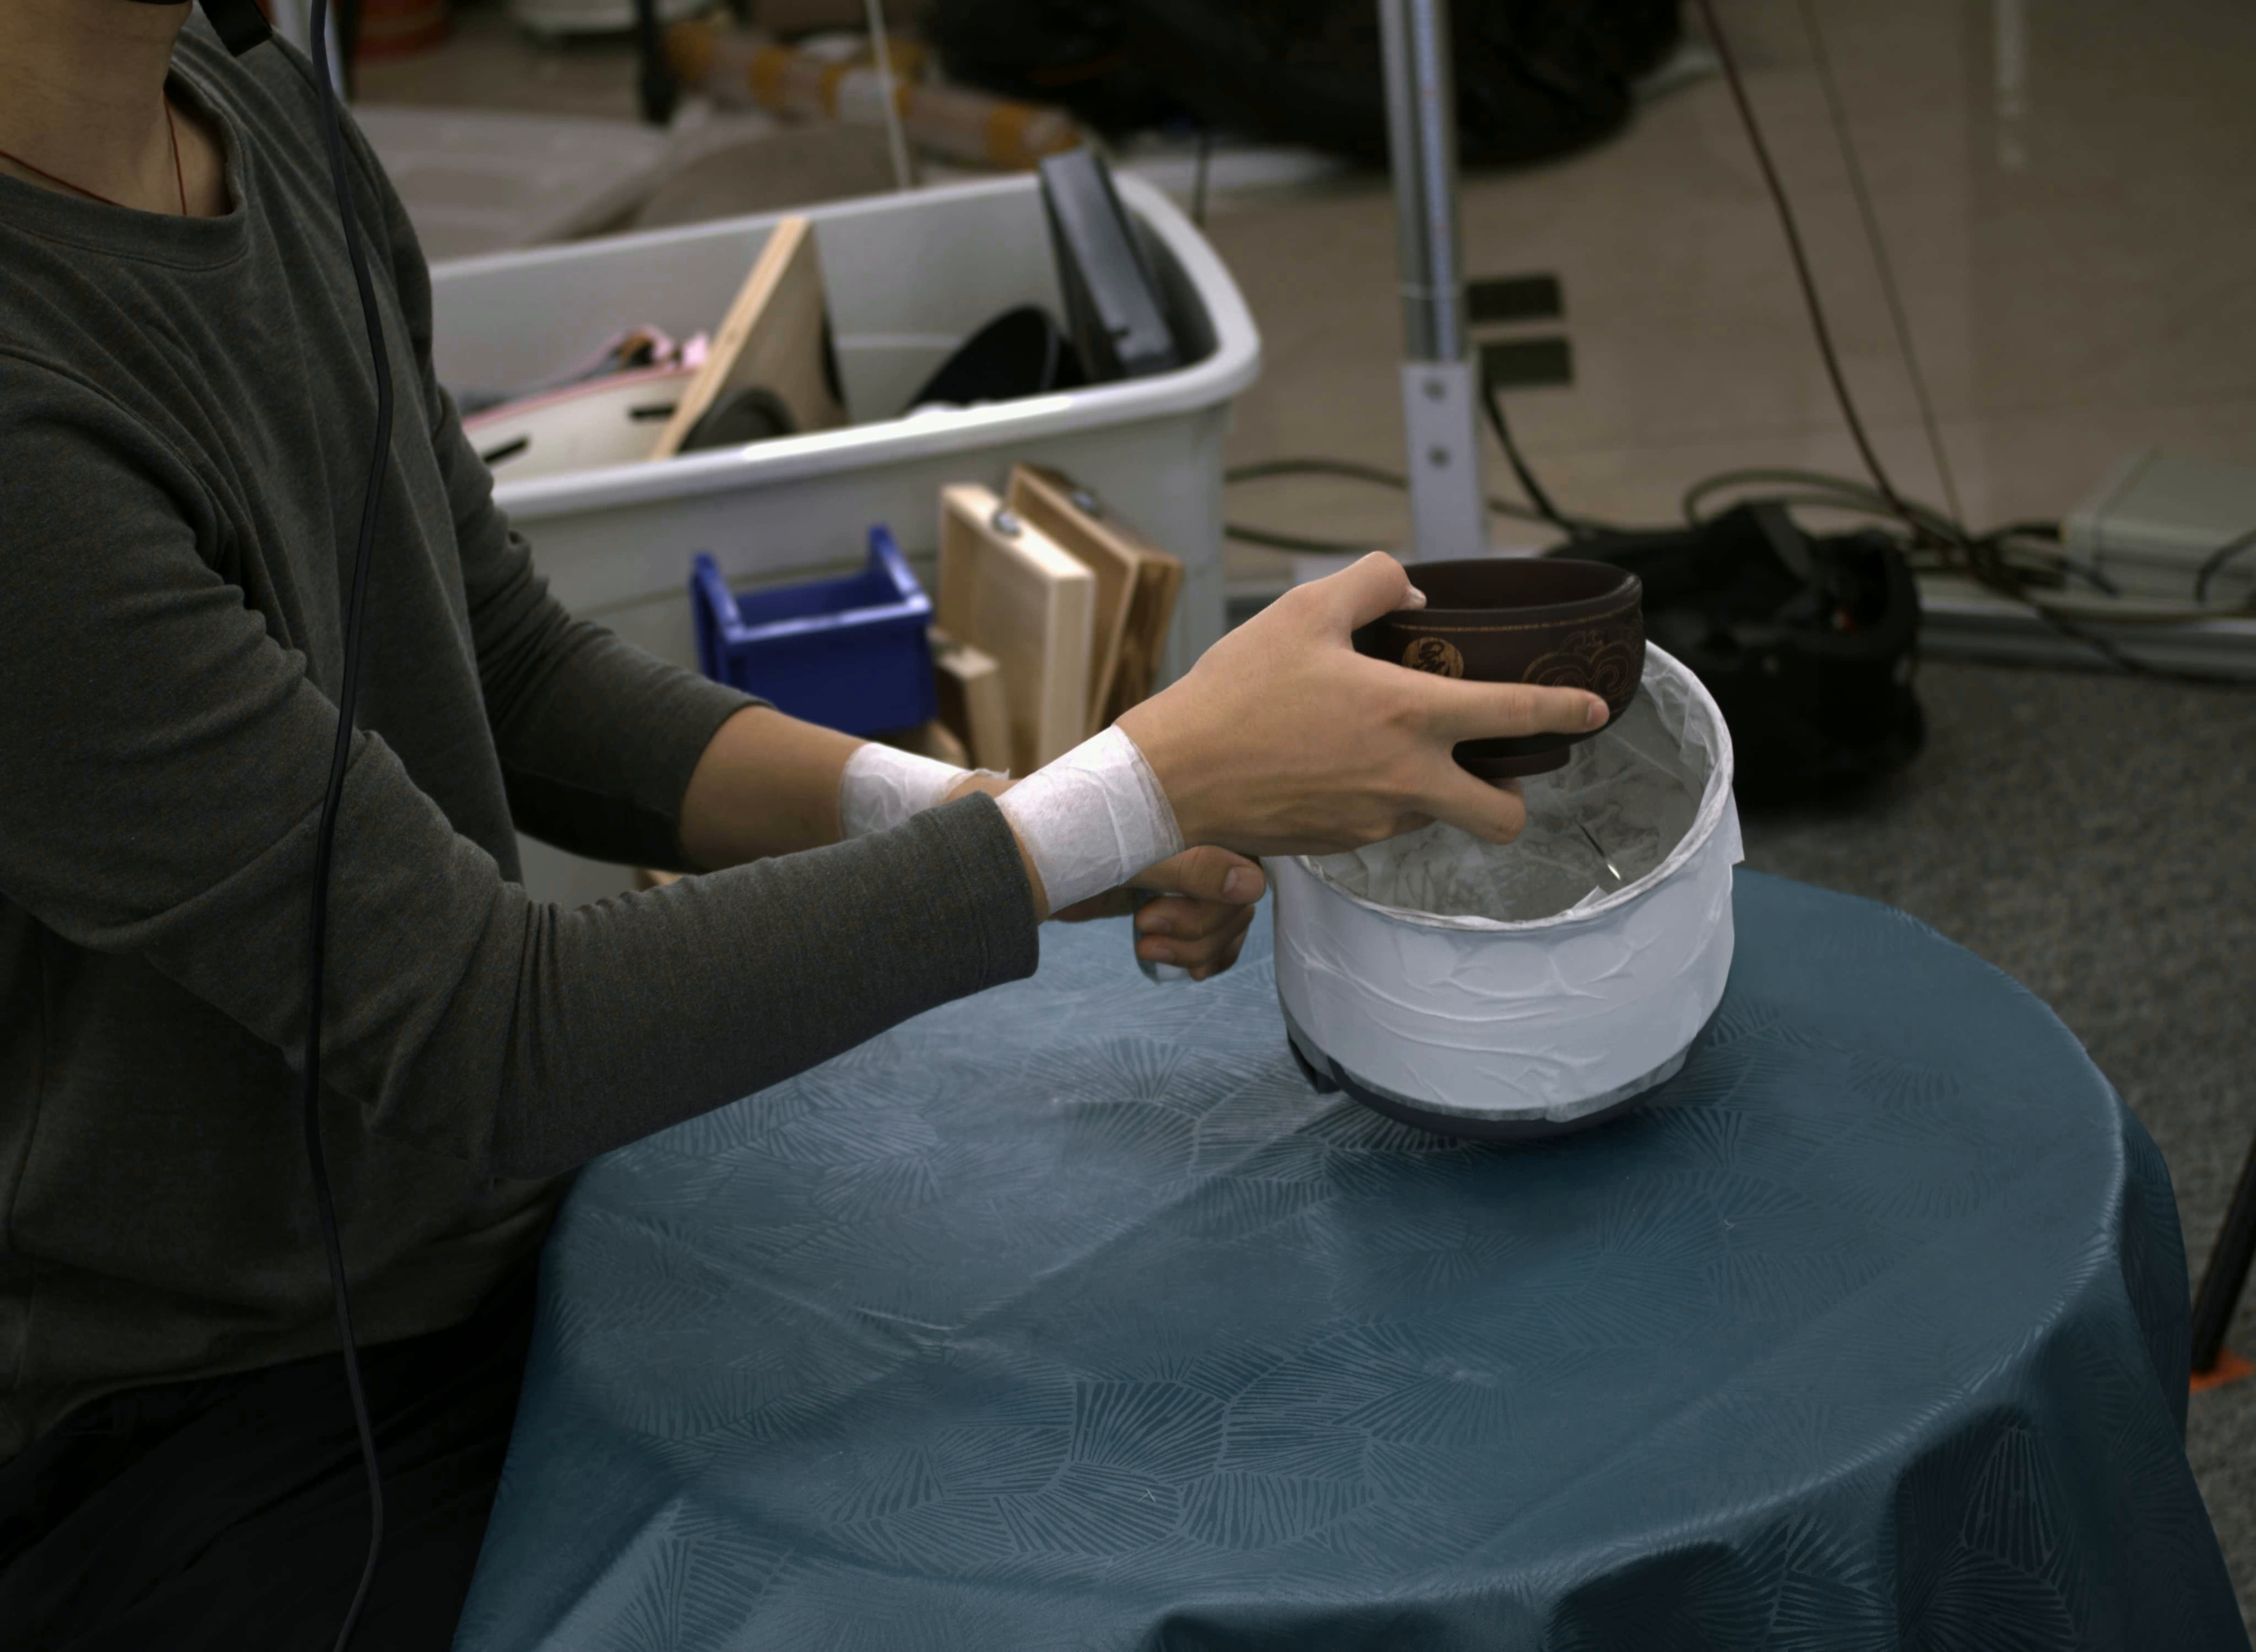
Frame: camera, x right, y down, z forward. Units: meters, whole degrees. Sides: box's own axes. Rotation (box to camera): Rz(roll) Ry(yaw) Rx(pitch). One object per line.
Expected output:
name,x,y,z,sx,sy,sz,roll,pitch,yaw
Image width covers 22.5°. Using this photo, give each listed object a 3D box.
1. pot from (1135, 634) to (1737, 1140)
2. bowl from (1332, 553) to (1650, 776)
pot,0.116,0.021,2.165,0.233,0.139,0.175,2,44,8
bowl,0.136,-0.058,2.106,0.118,0.070,0.117,-5,13,1
